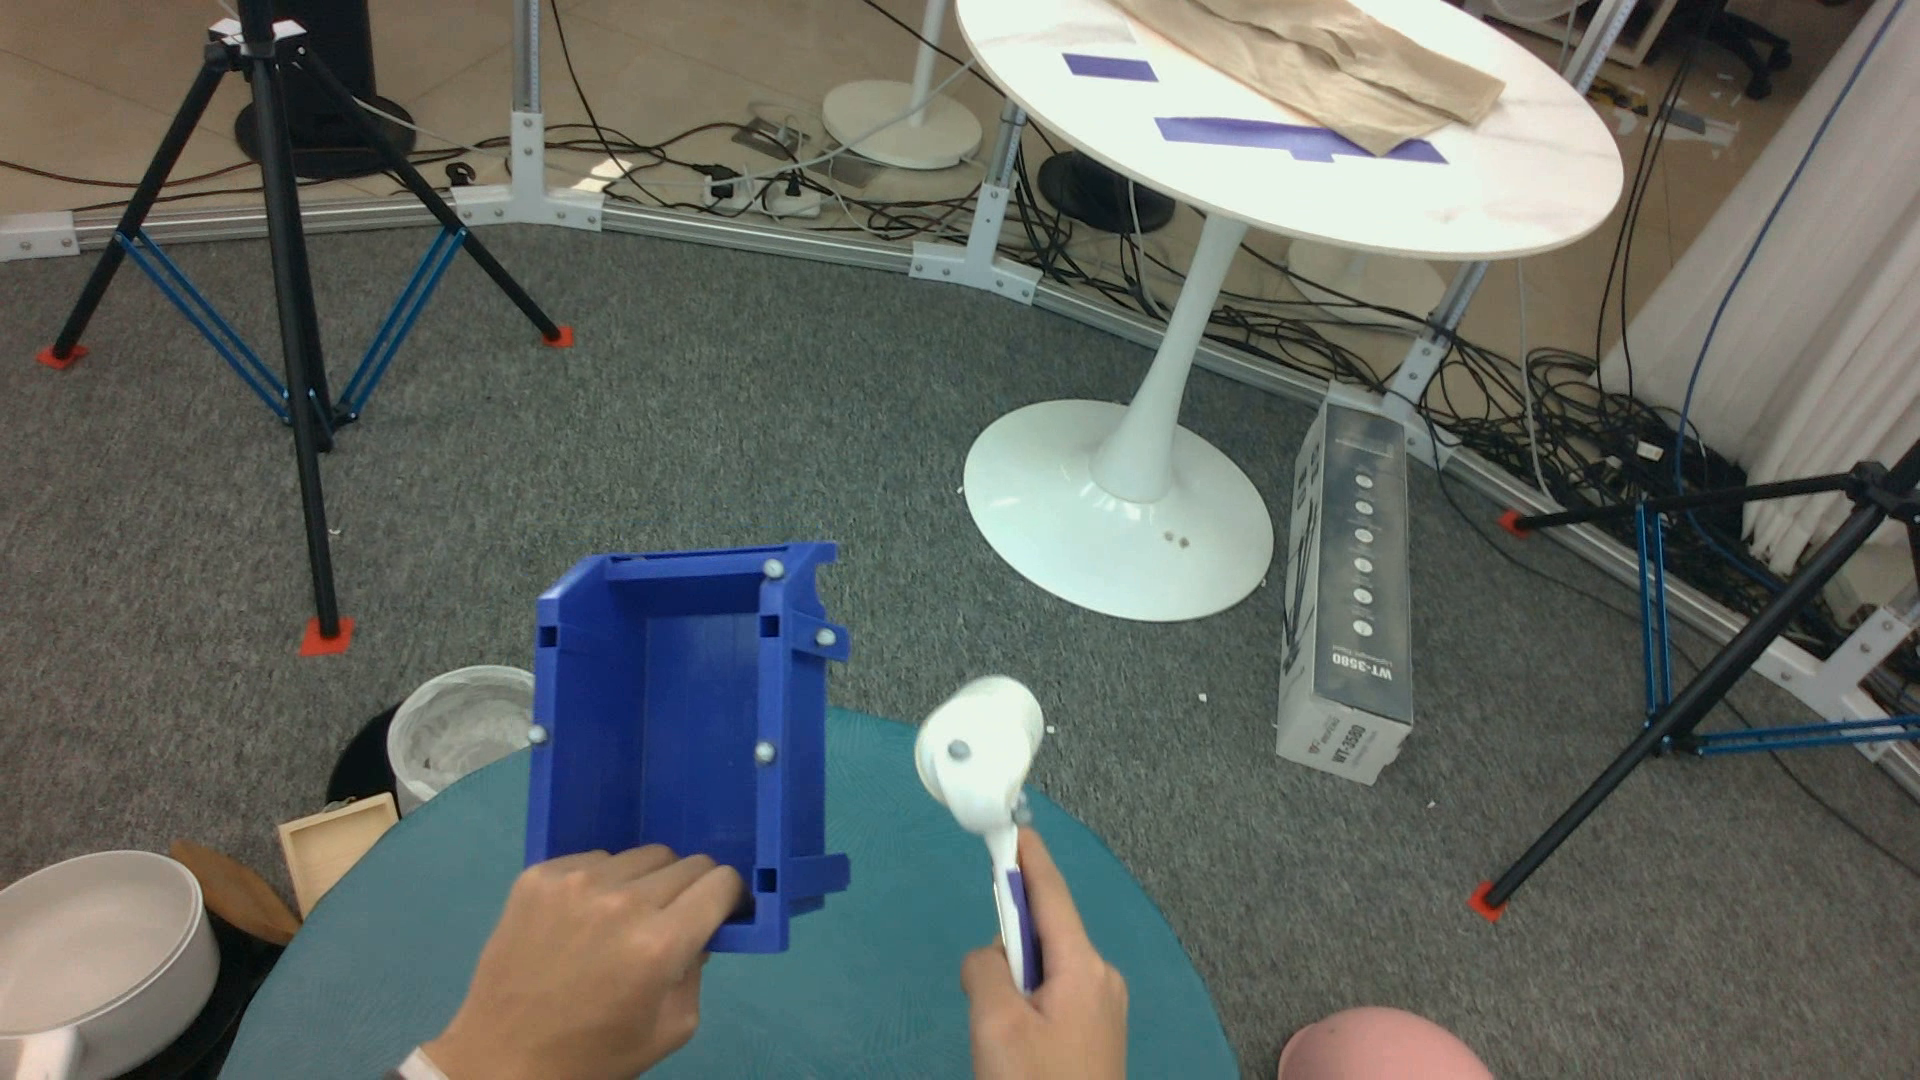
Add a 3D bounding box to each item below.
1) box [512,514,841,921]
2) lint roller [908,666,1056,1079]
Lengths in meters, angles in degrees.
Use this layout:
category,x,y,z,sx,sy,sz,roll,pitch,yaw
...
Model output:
category,x,y,z,sx,sy,sz,roll,pitch,yaw
box,-0.128,0.075,0.630,0.124,0.082,0.179,-2,81,16
lint roller,0.027,0.145,0.594,0.050,0.133,0.181,-19,86,4
